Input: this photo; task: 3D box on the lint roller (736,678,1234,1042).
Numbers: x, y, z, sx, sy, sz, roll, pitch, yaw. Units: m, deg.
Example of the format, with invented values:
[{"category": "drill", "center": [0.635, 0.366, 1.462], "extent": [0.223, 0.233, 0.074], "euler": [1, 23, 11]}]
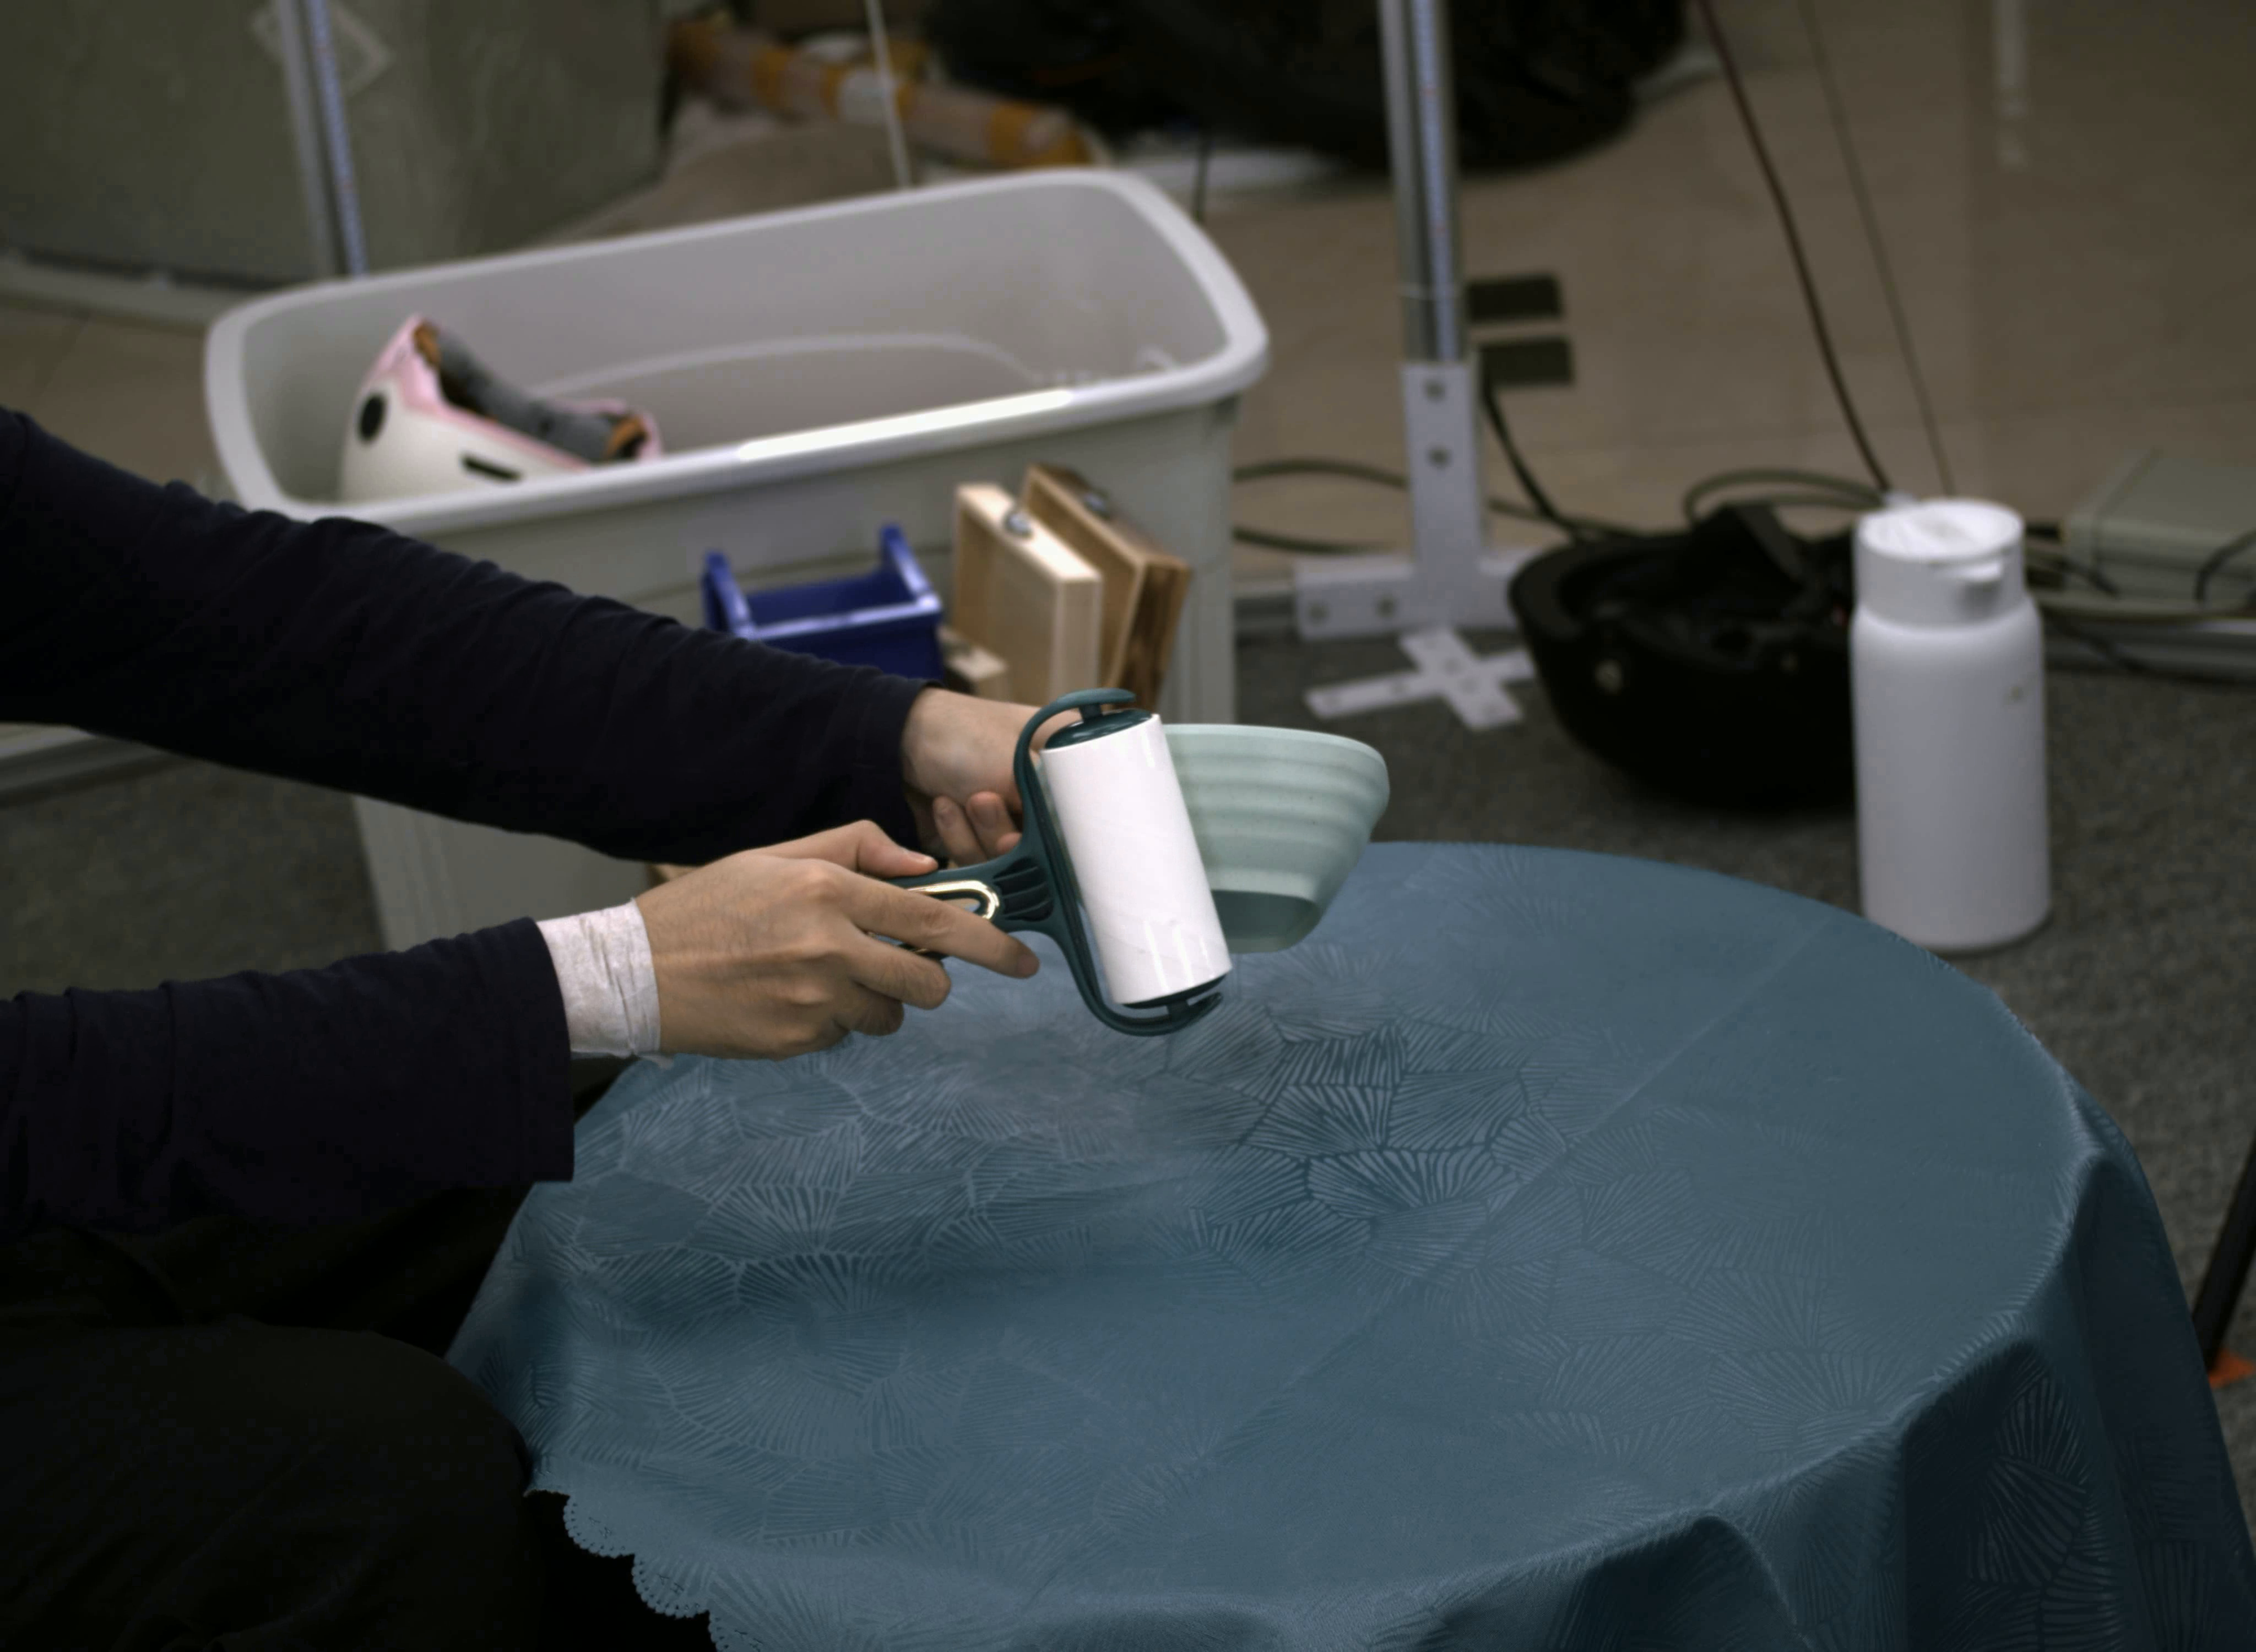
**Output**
[{"category": "lint roller", "center": [-0.060, 0.032, 2.106], "extent": [0.180, 0.135, 0.048], "euler": [-17, 8, 1]}]

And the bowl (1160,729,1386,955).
[{"category": "bowl", "center": [0.029, 0.011, 2.182], "extent": [0.151, 0.058, 0.153], "euler": [3, -16, 1]}]
